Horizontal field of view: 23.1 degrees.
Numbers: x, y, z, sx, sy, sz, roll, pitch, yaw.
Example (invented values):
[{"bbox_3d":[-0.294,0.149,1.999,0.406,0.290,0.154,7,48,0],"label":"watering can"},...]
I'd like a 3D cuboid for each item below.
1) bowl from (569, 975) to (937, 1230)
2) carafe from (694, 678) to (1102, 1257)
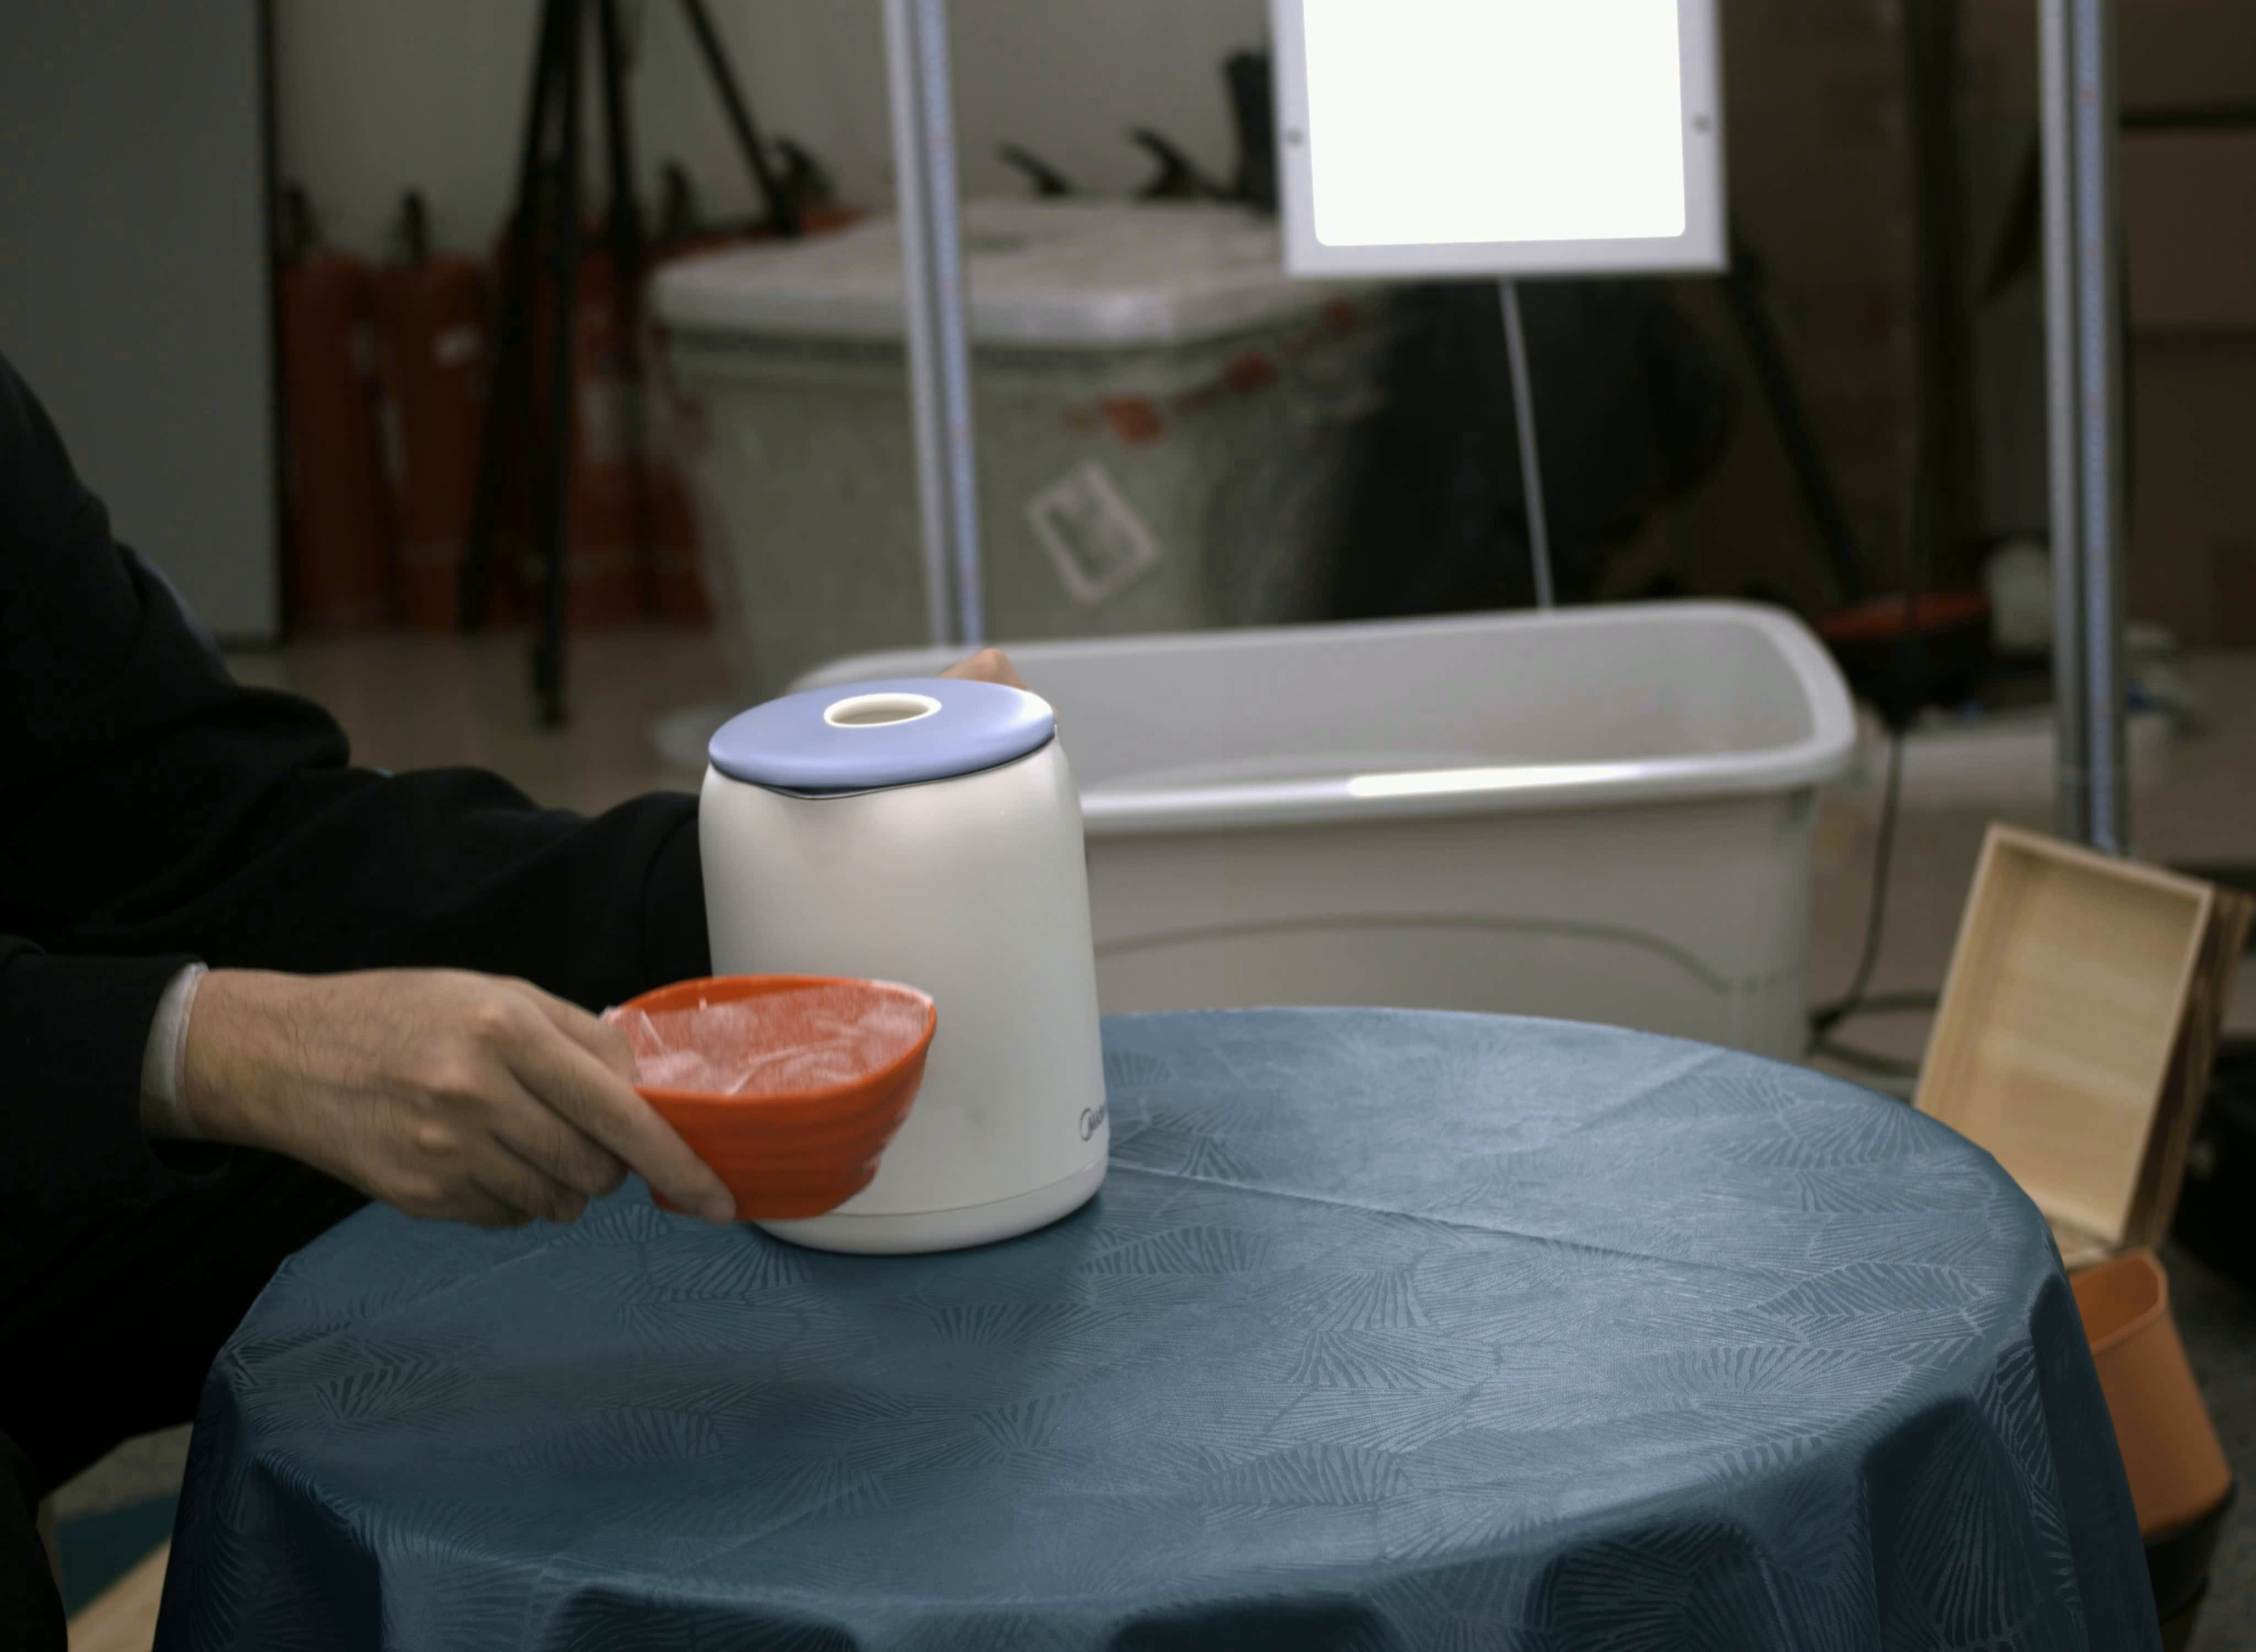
[{"bbox_3d":[-0.115,0.089,1.722,0.118,0.051,0.118,-3,20,0],"label":"bowl"},{"bbox_3d":[-0.072,0.041,1.903,0.133,0.183,0.188,1,14,16],"label":"carafe"}]
